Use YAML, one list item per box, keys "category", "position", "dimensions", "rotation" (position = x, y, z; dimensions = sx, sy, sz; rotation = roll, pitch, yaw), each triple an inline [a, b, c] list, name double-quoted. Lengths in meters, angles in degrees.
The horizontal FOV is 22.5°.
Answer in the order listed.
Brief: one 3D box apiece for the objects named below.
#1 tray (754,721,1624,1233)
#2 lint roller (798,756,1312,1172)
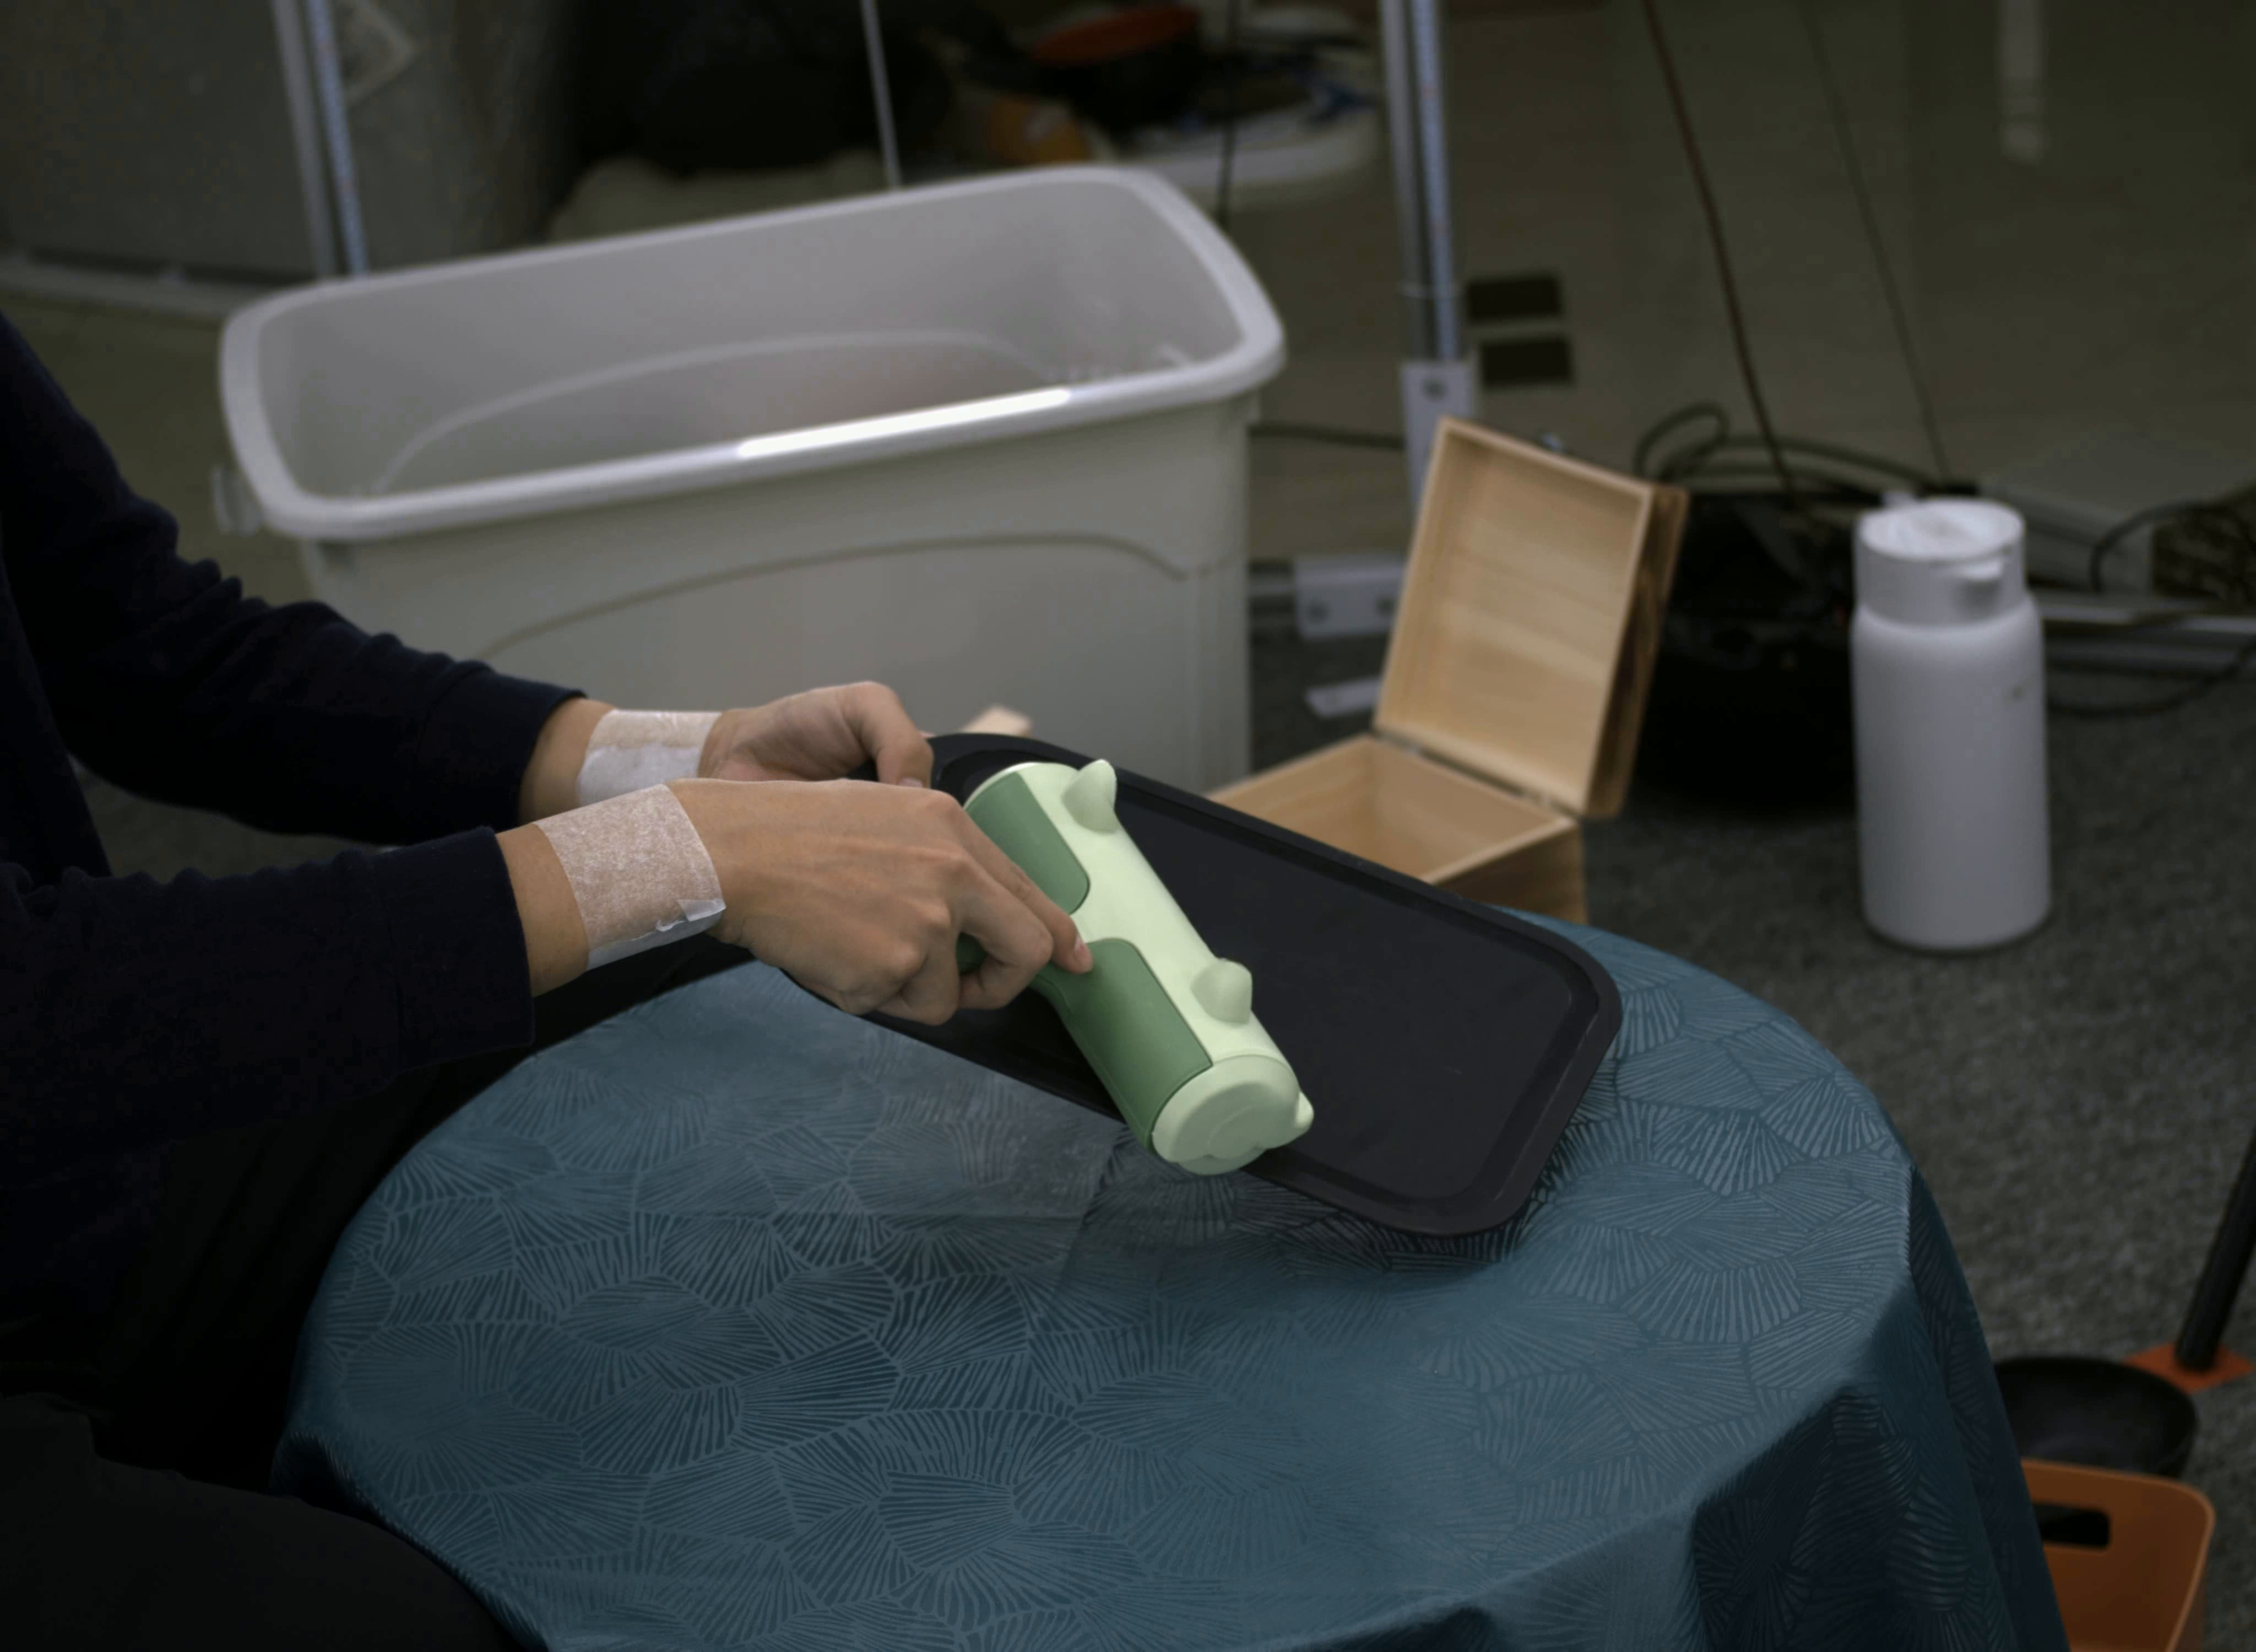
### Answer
- category: "tray"
  position: [0.019, 0.050, 2.155]
  dimensions: [0.324, 0.010, 0.208]
  rotation: [22, 37, 10]
- category: "lint roller"
  position: [-0.035, 0.028, 2.063]
  dimensions: [0.184, 0.083, 0.195]
  rotation: [23, 23, -43]
